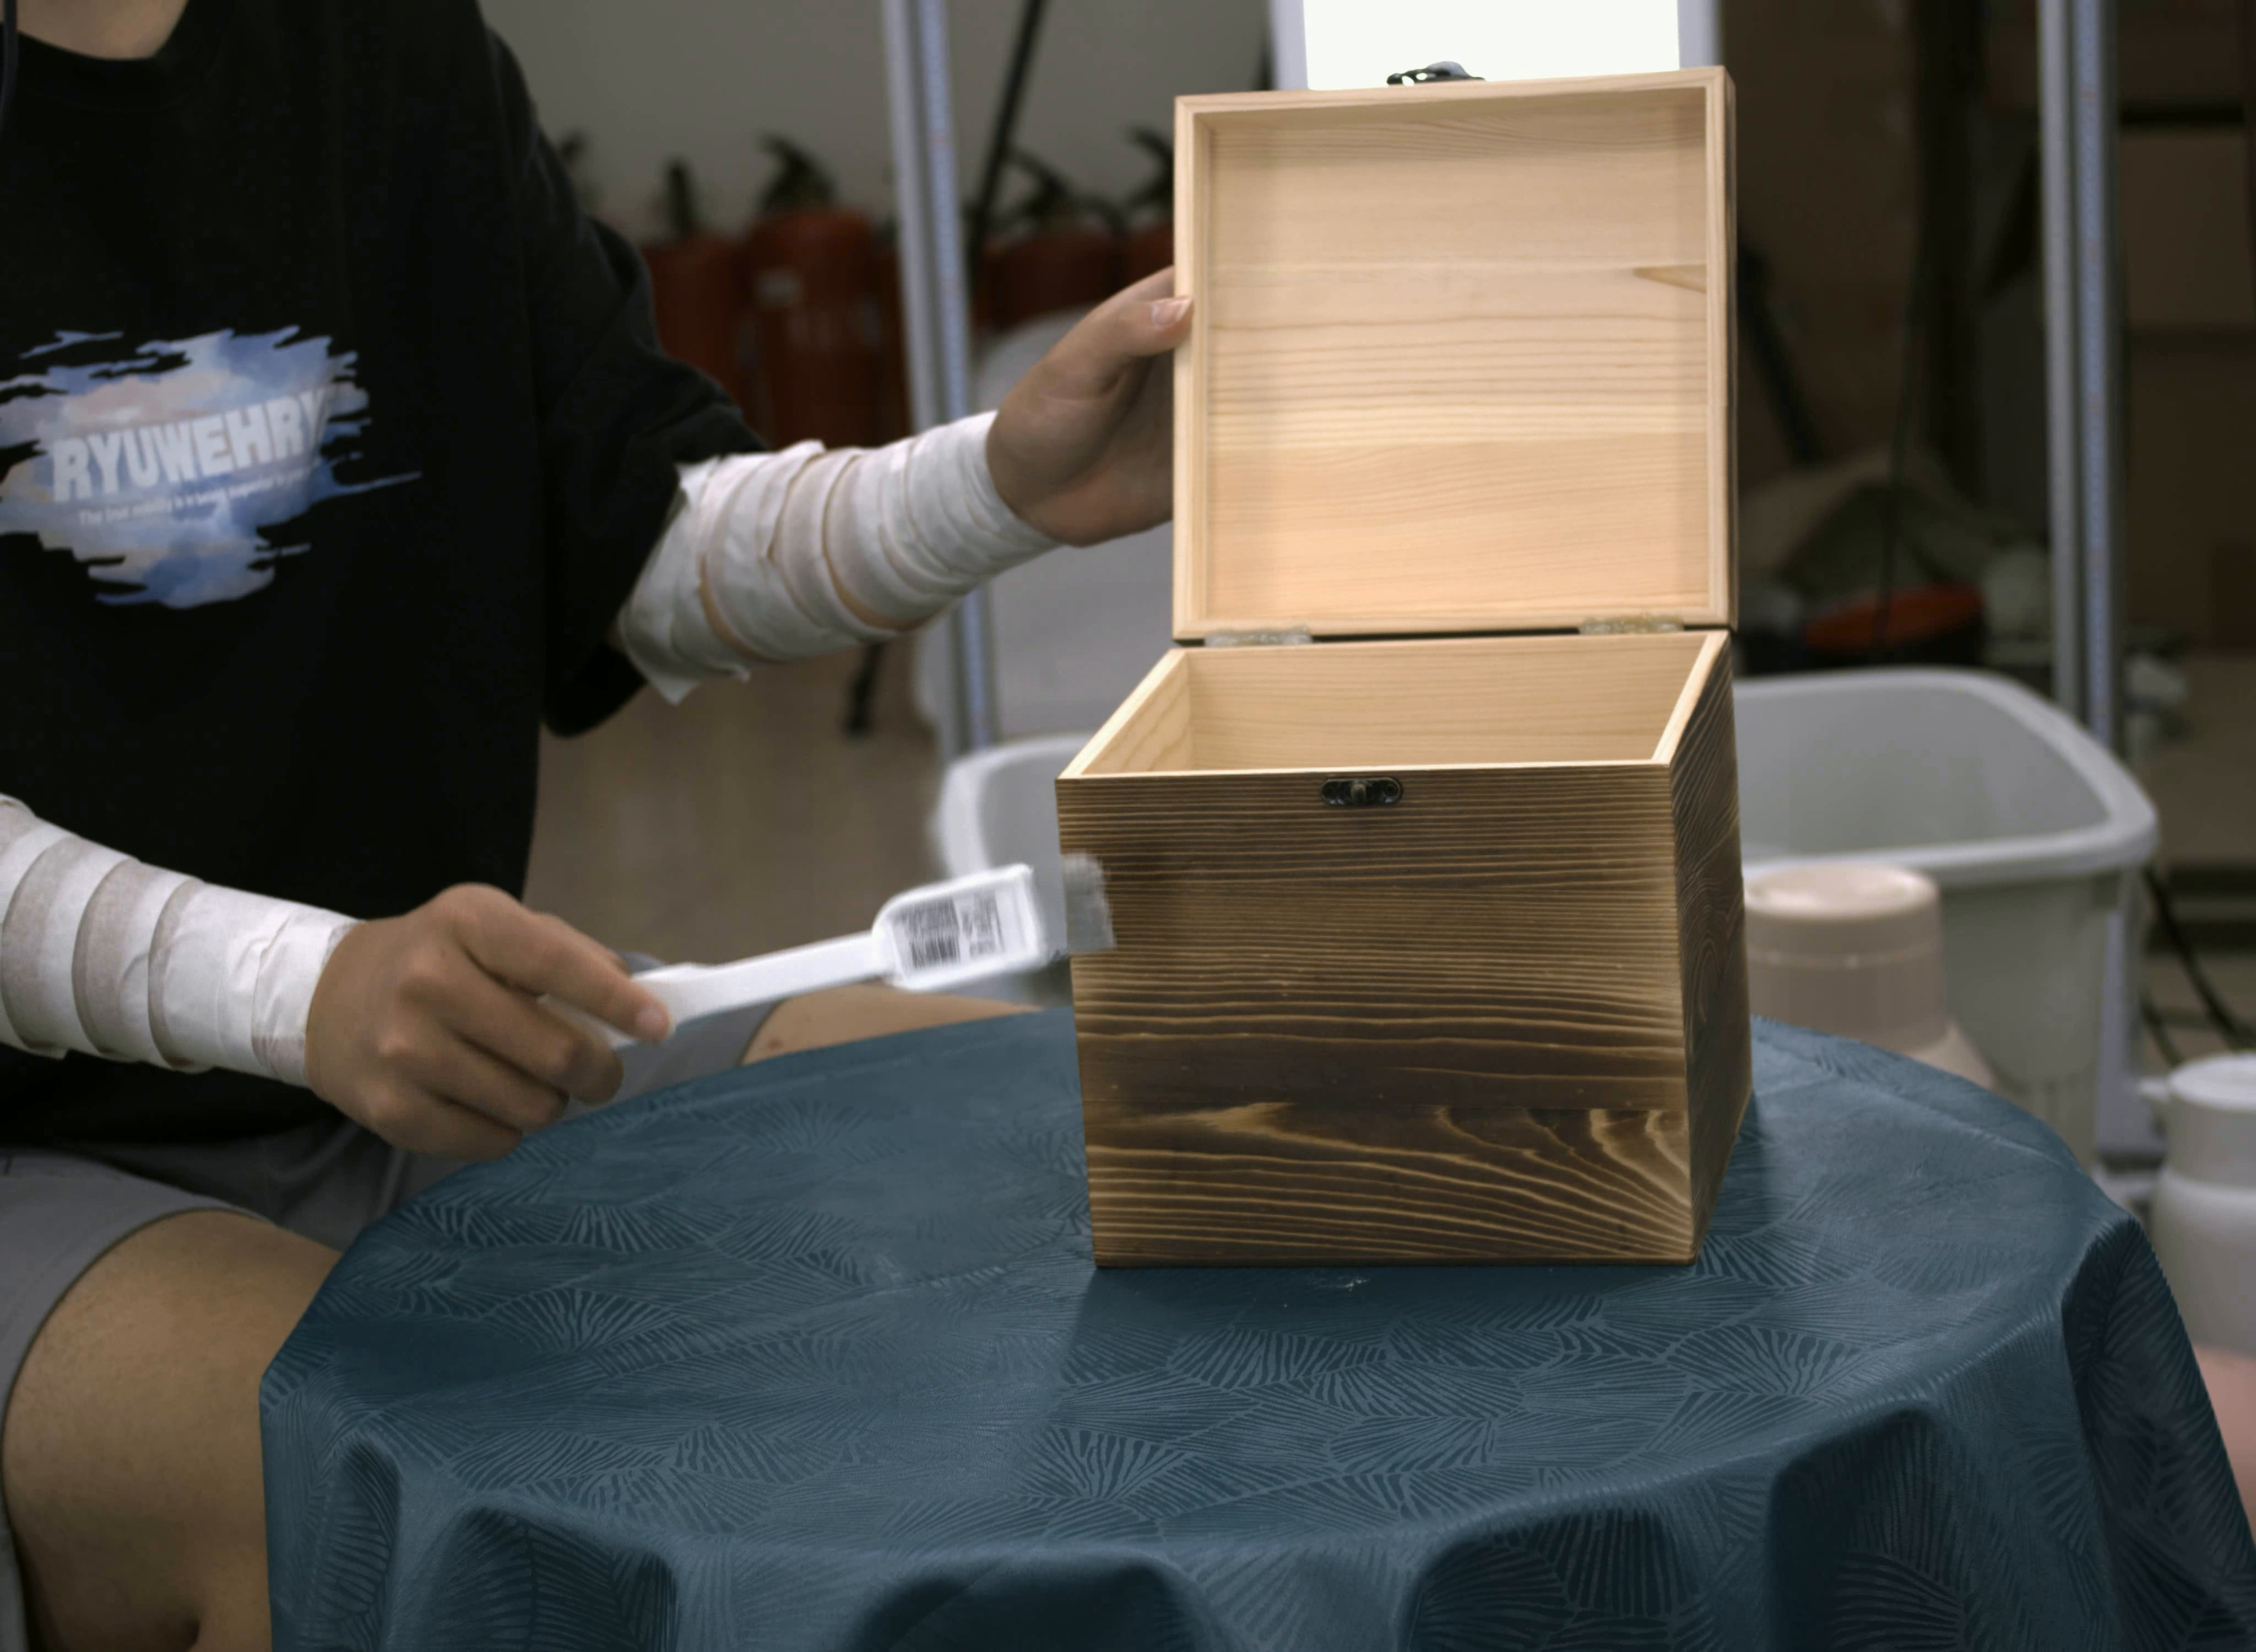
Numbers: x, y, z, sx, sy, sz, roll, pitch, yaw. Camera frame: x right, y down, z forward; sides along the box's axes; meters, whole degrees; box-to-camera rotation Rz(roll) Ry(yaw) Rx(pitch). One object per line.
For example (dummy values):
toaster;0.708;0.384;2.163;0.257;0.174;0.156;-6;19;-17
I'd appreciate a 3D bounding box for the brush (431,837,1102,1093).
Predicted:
brush;-0.117;0.047;1.775;0.248;0.034;0.049;-17;-7;29

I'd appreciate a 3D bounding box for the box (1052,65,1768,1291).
box;0.102;-0.064;1.895;0.210;0.377;0.318;-3;12;14
